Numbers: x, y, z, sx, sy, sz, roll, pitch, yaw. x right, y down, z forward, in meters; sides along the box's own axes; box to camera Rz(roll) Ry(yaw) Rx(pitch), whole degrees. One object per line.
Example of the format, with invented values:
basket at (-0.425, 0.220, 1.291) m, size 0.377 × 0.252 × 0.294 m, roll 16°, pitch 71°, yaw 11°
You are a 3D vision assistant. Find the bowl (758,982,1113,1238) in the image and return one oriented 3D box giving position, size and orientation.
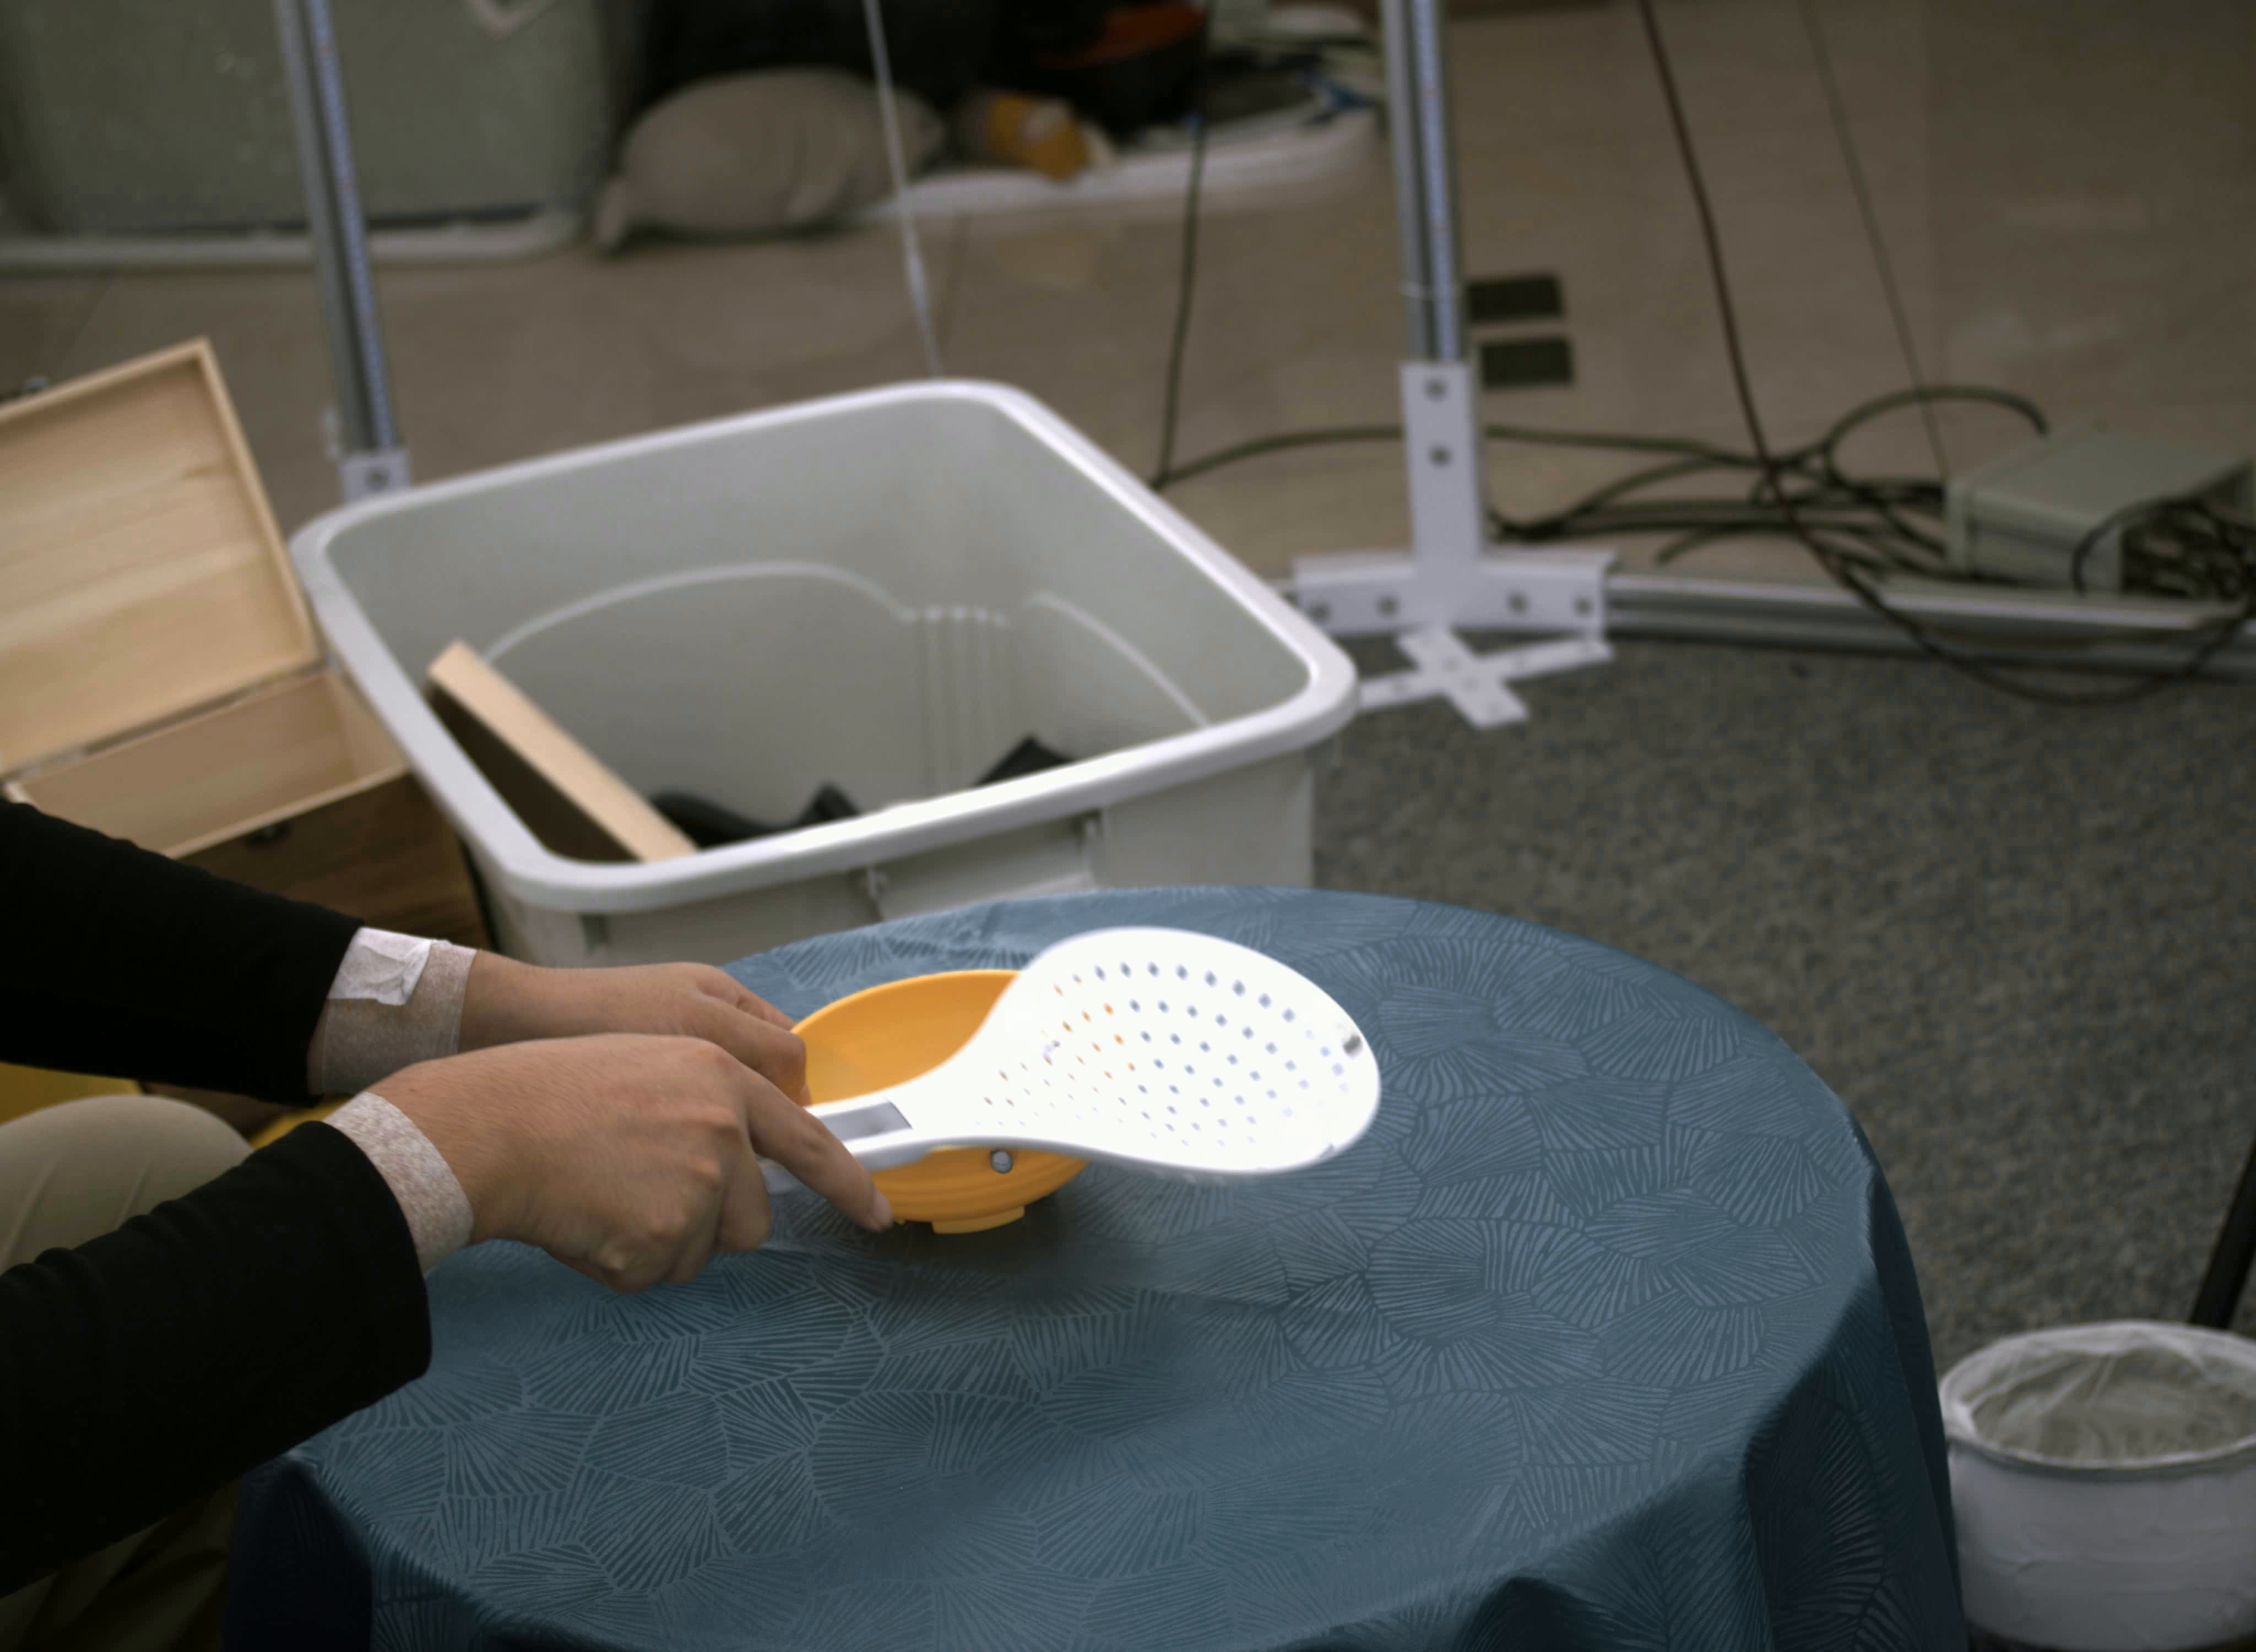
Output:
bowl at (-0.066, 0.115, 2.147) m, size 0.145 × 0.061 × 0.143 m, roll -5°, pitch 24°, yaw 2°

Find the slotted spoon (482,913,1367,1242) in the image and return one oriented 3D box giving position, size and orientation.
slotted spoon at (-0.069, 0.098, 1.985) m, size 0.349 × 0.046 × 0.134 m, roll -8°, pitch 42°, yaw -37°
